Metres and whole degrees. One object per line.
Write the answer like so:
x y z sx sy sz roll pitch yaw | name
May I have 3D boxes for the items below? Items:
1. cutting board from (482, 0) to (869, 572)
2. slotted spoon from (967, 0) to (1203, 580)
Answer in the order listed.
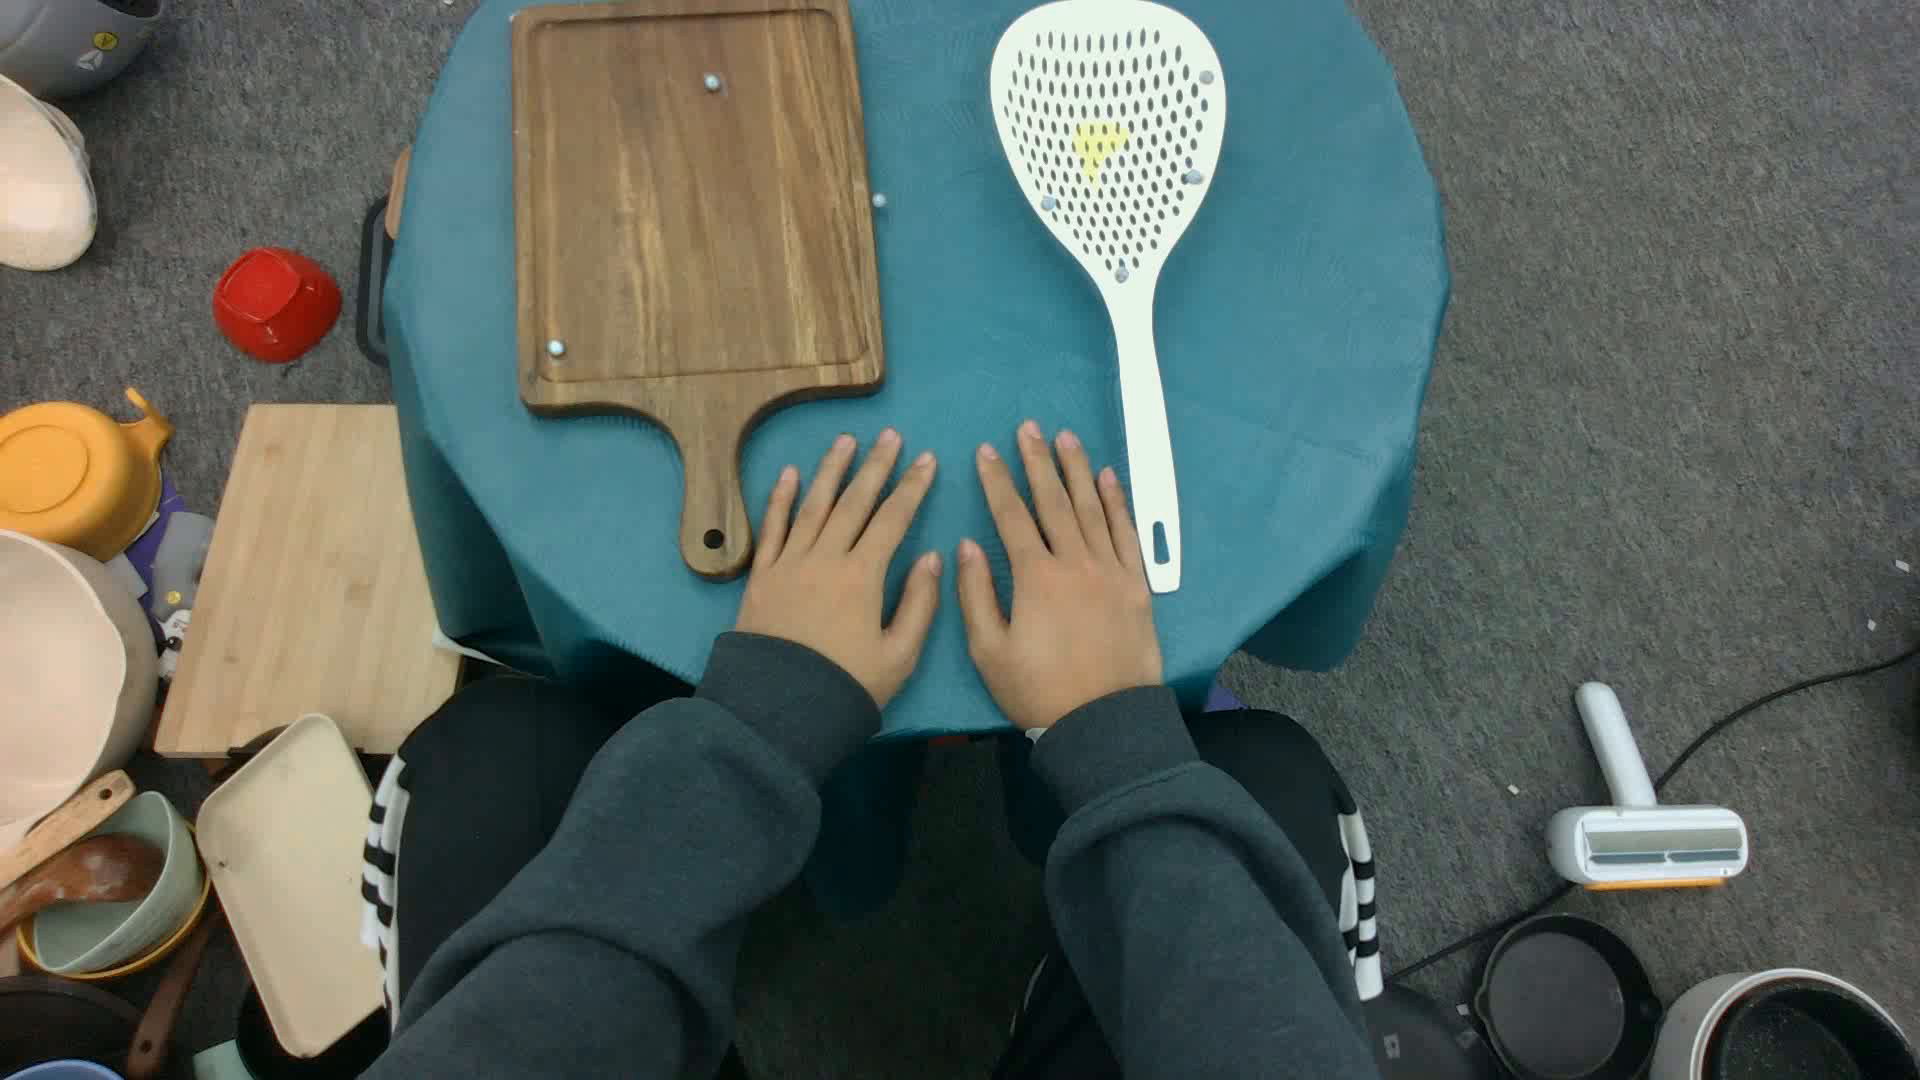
-0.157 -0.153 0.763 0.201 0.023 0.353 -6 74 -5 | cutting board
0.083 -0.150 0.771 0.137 0.050 0.348 -5 74 -8 | slotted spoon
